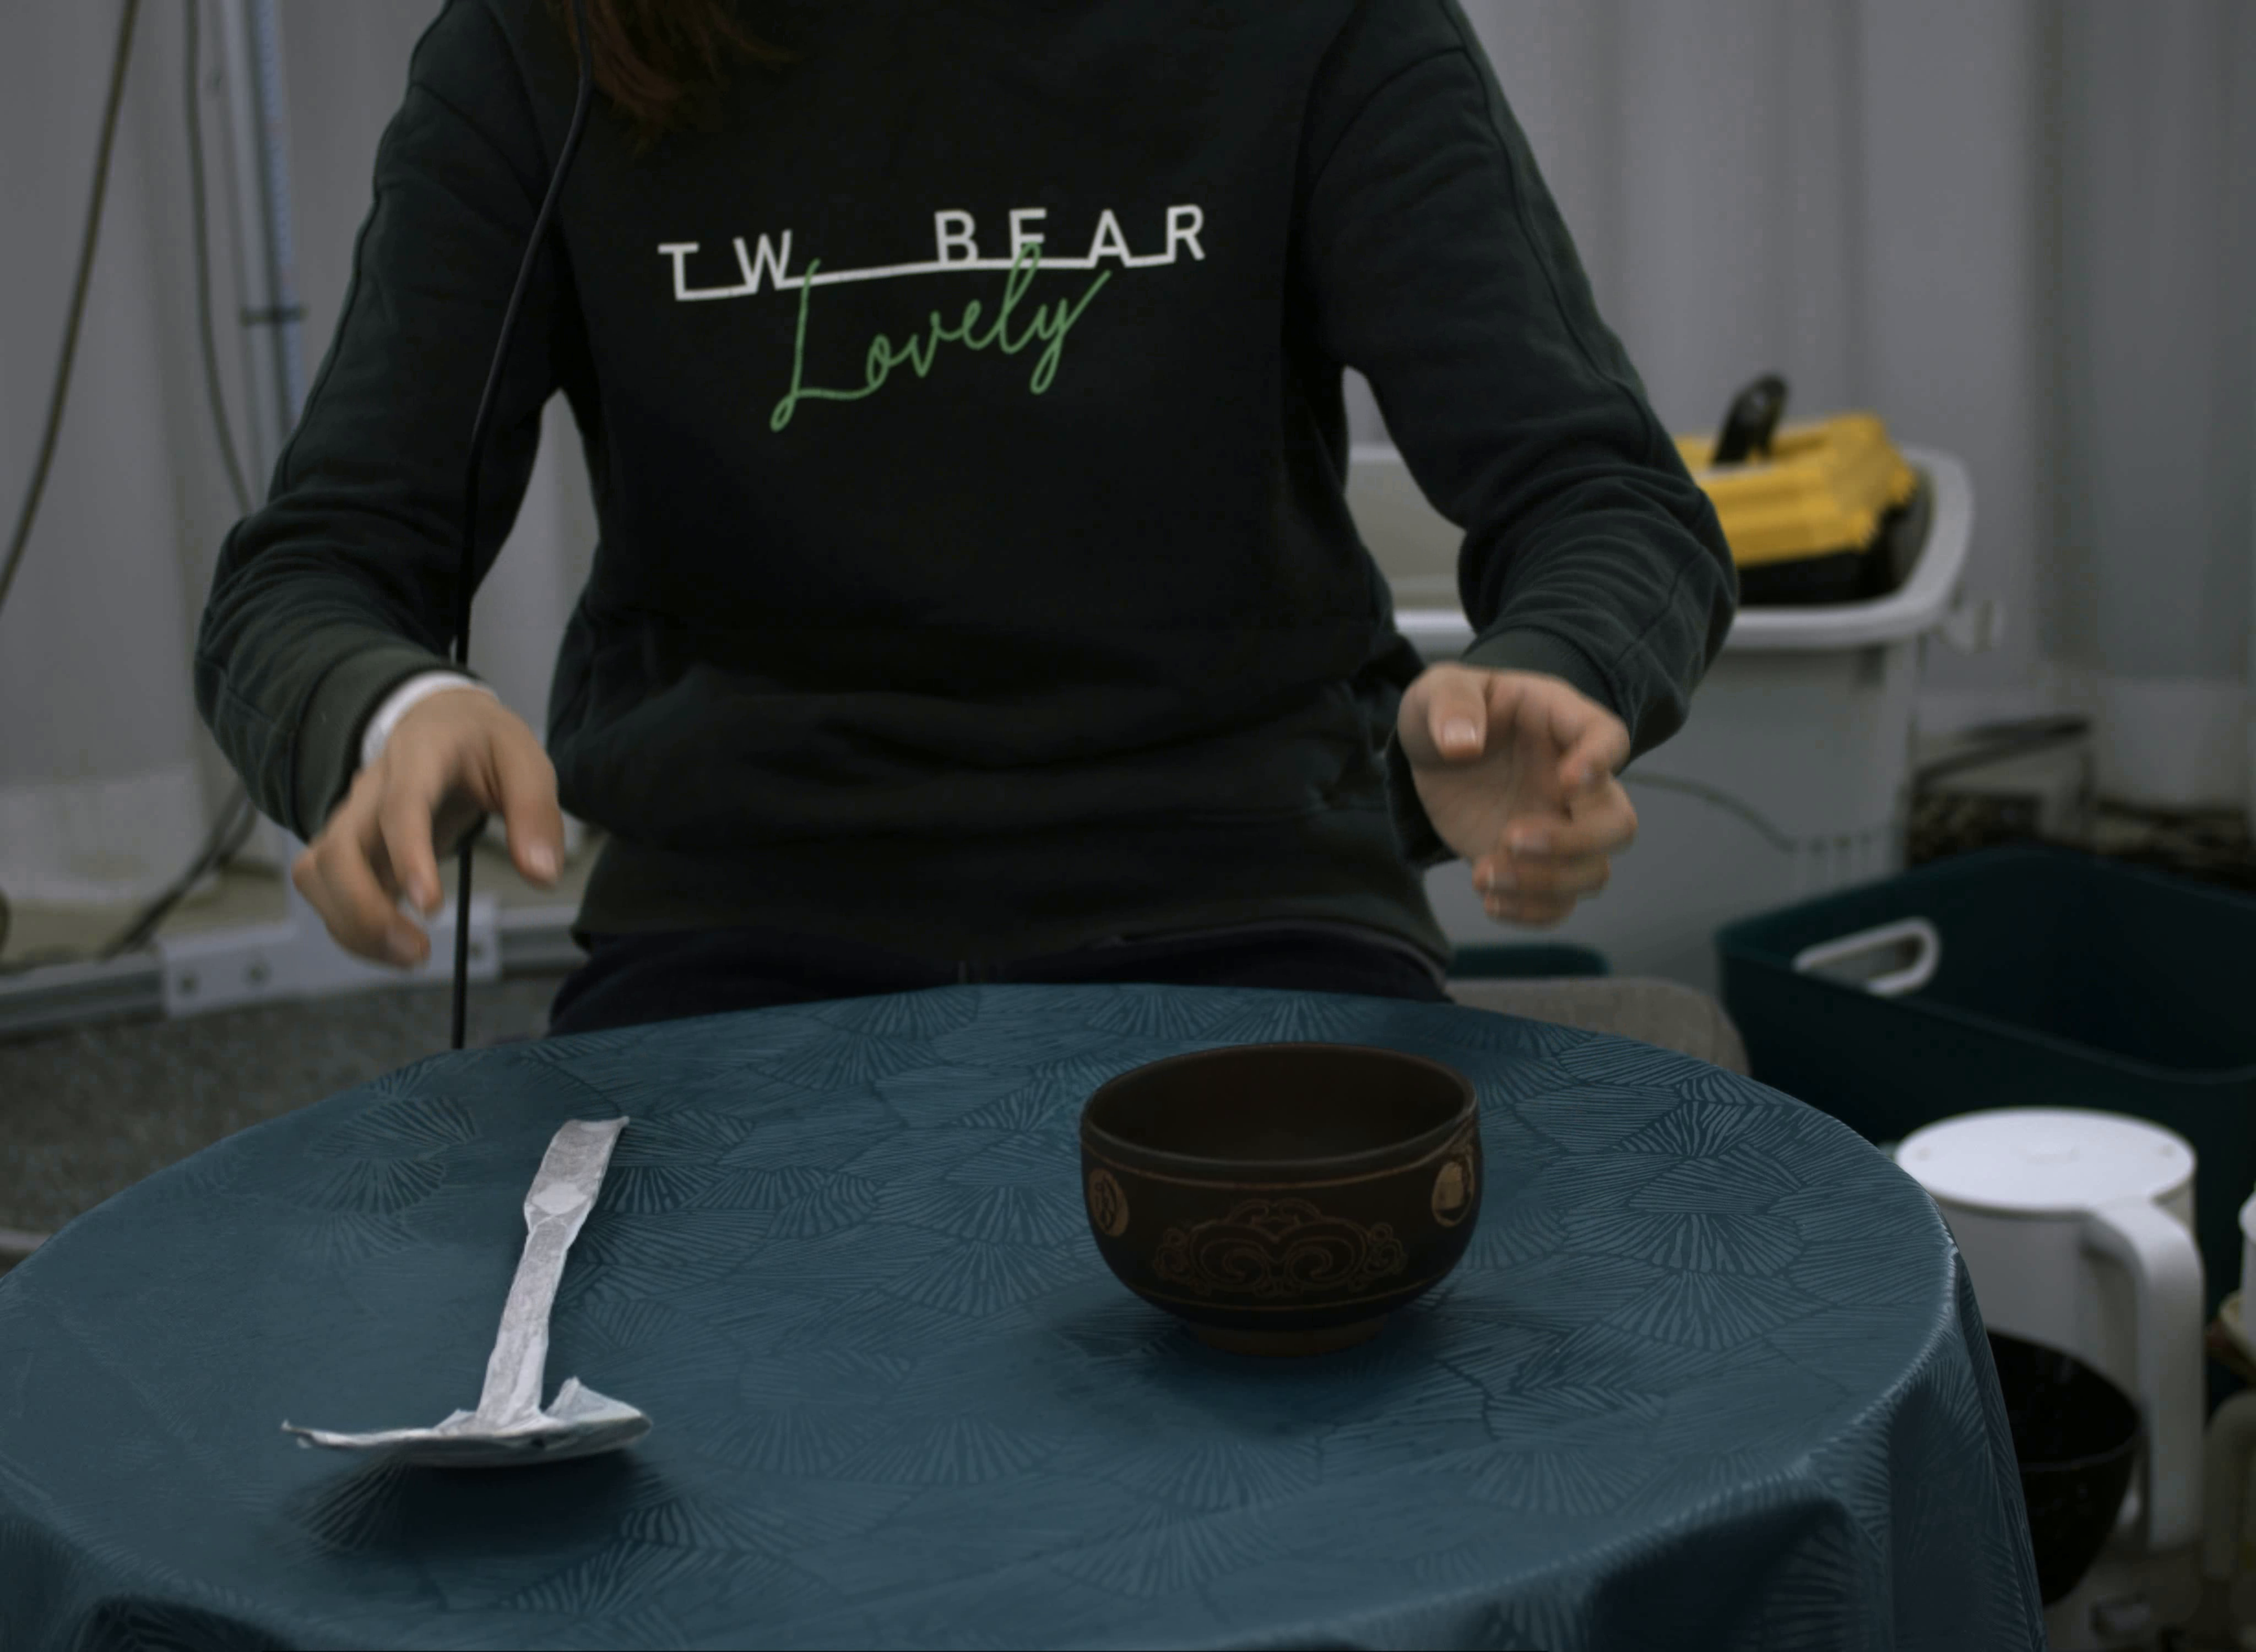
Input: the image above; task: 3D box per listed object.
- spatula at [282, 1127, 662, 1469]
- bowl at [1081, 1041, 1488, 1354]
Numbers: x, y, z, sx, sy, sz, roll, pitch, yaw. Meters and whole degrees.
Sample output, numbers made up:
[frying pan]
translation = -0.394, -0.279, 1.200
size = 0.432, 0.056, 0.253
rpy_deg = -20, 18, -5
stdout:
[spatula]
translation = -0.171, 0.130, 1.614
size = 0.098, 0.044, 0.367
rpy_deg = -4, 15, 3
[bowl]
translation = 0.045, 0.111, 1.583
size = 0.117, 0.069, 0.119
rpy_deg = -1, 14, 0
